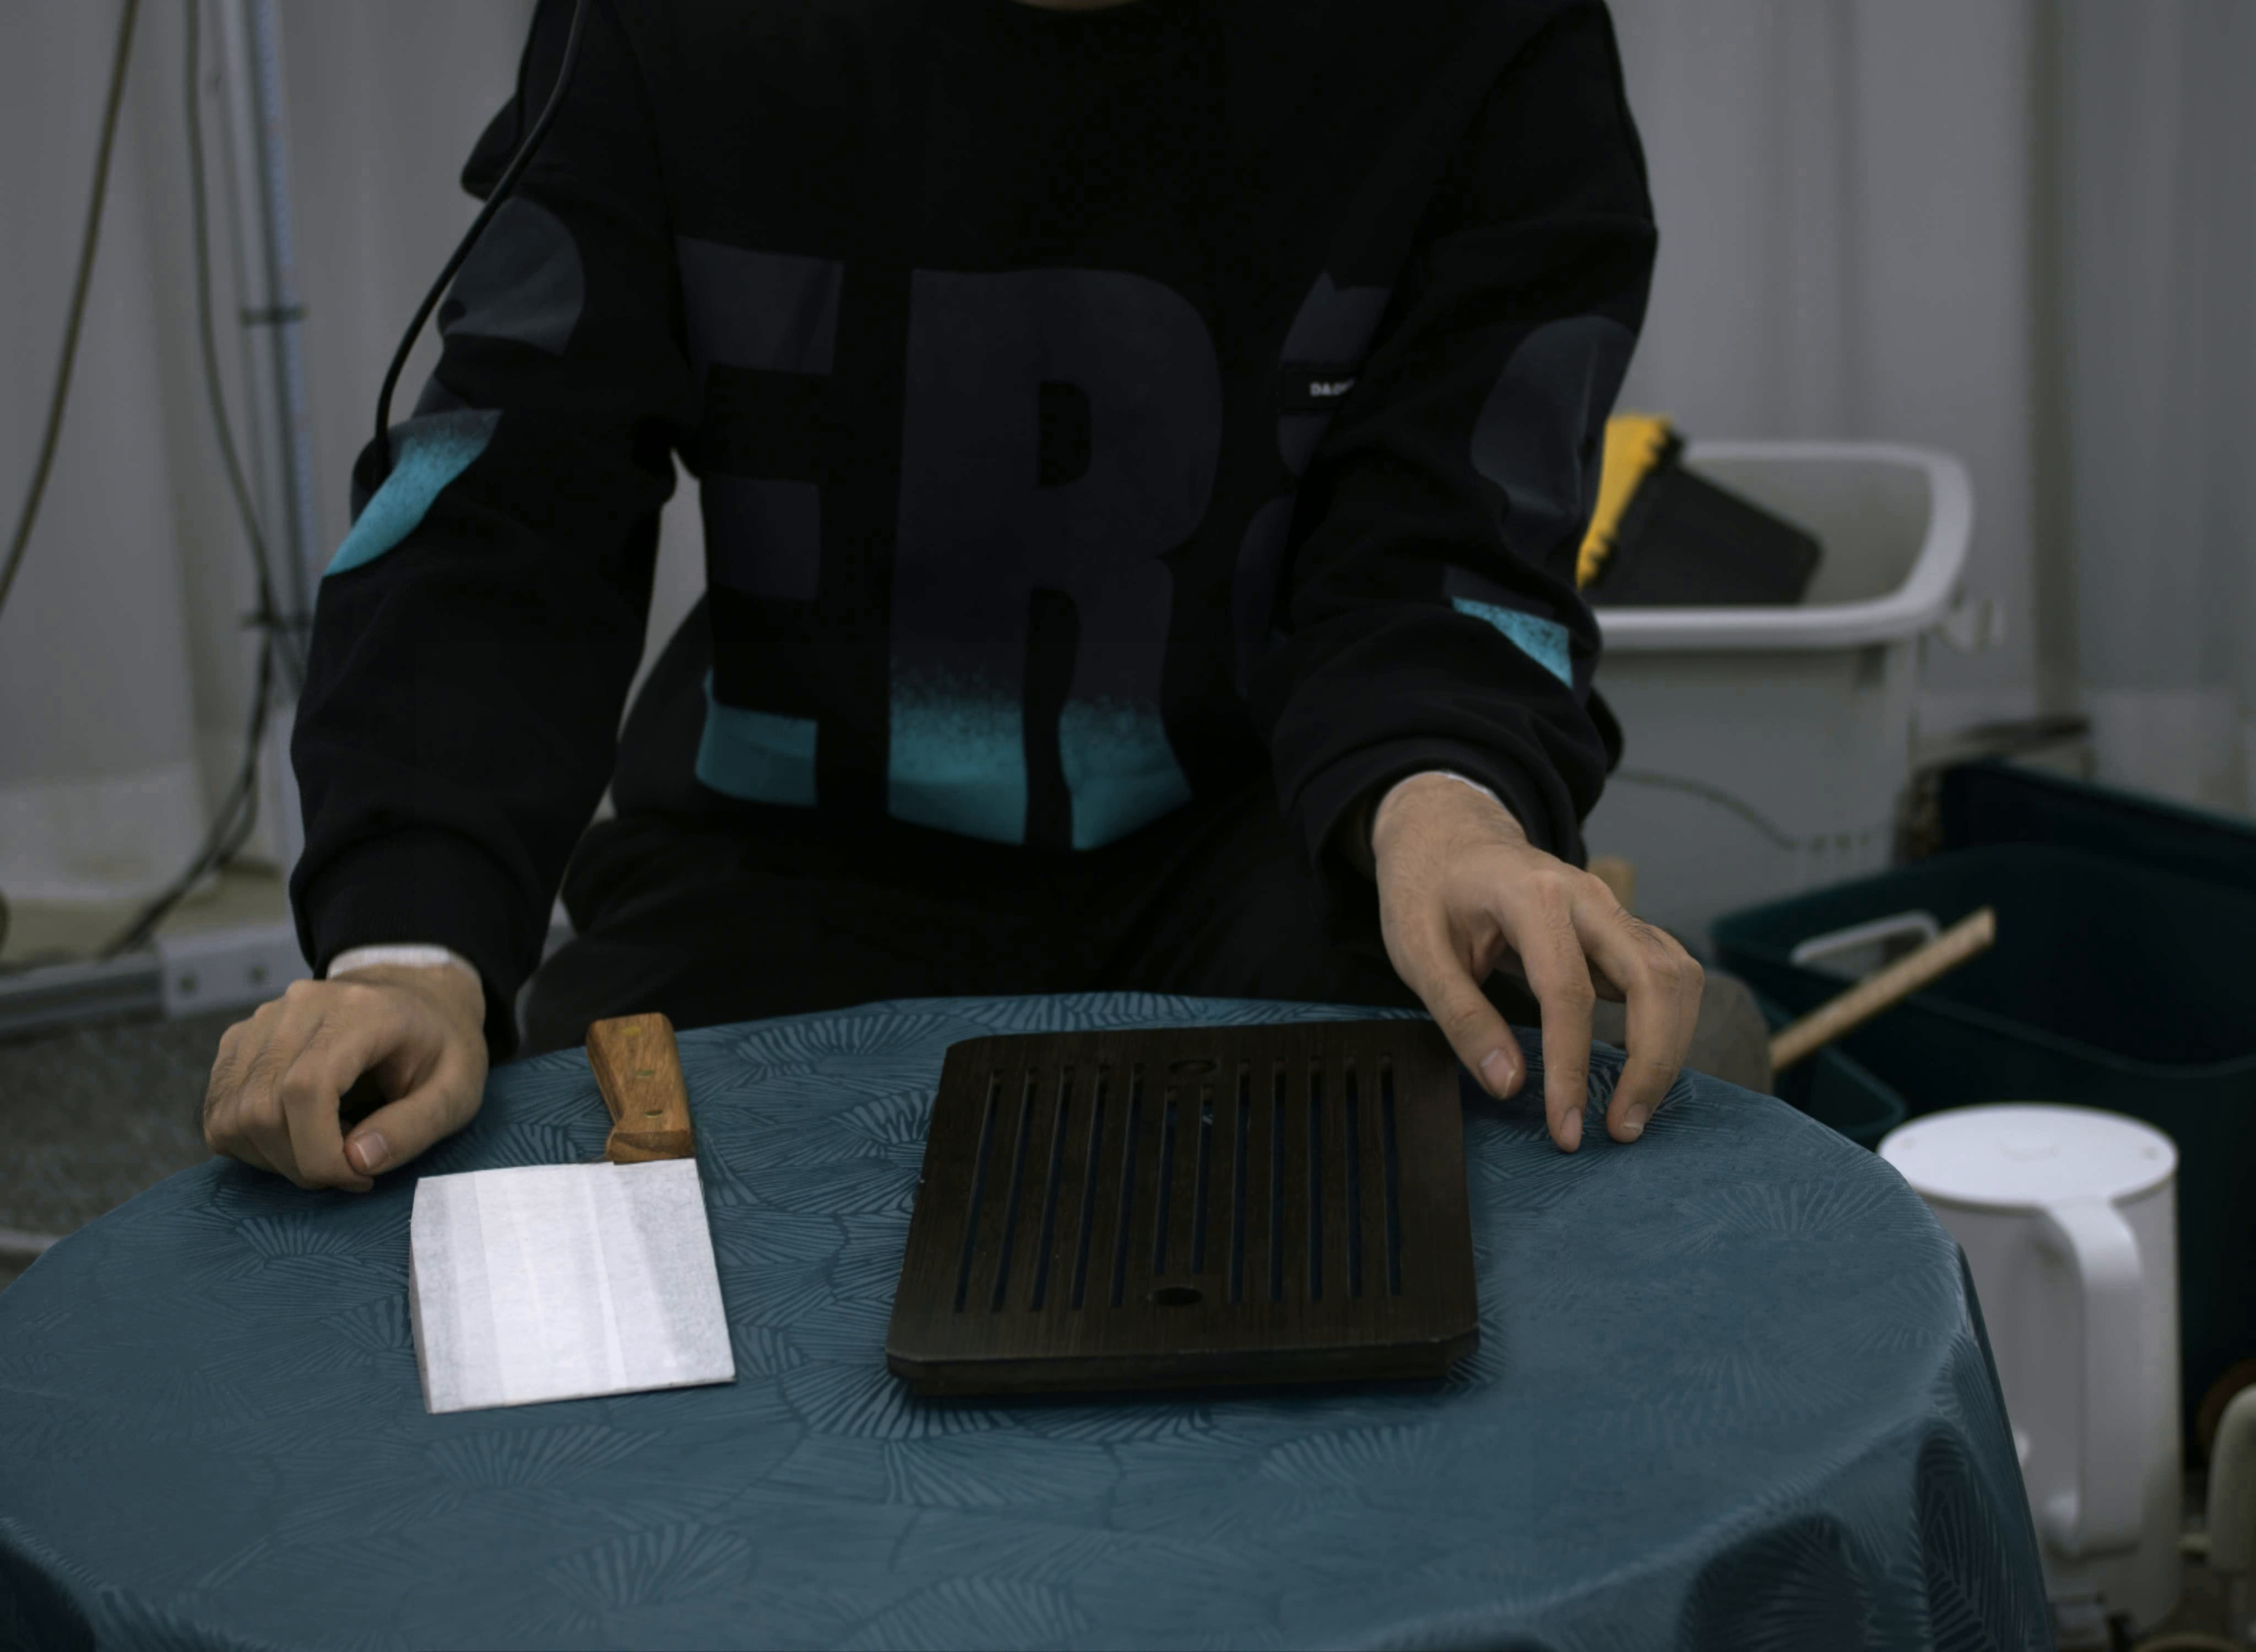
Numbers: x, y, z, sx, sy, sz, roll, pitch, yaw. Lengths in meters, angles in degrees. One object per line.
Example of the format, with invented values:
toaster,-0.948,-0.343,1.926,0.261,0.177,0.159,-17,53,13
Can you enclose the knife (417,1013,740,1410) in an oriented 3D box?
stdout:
knife,-0.175,0.119,1.706,0.092,0.021,0.308,-6,18,-6

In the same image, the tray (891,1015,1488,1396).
tray,0.023,0.114,1.678,0.169,0.018,0.308,-3,15,3
